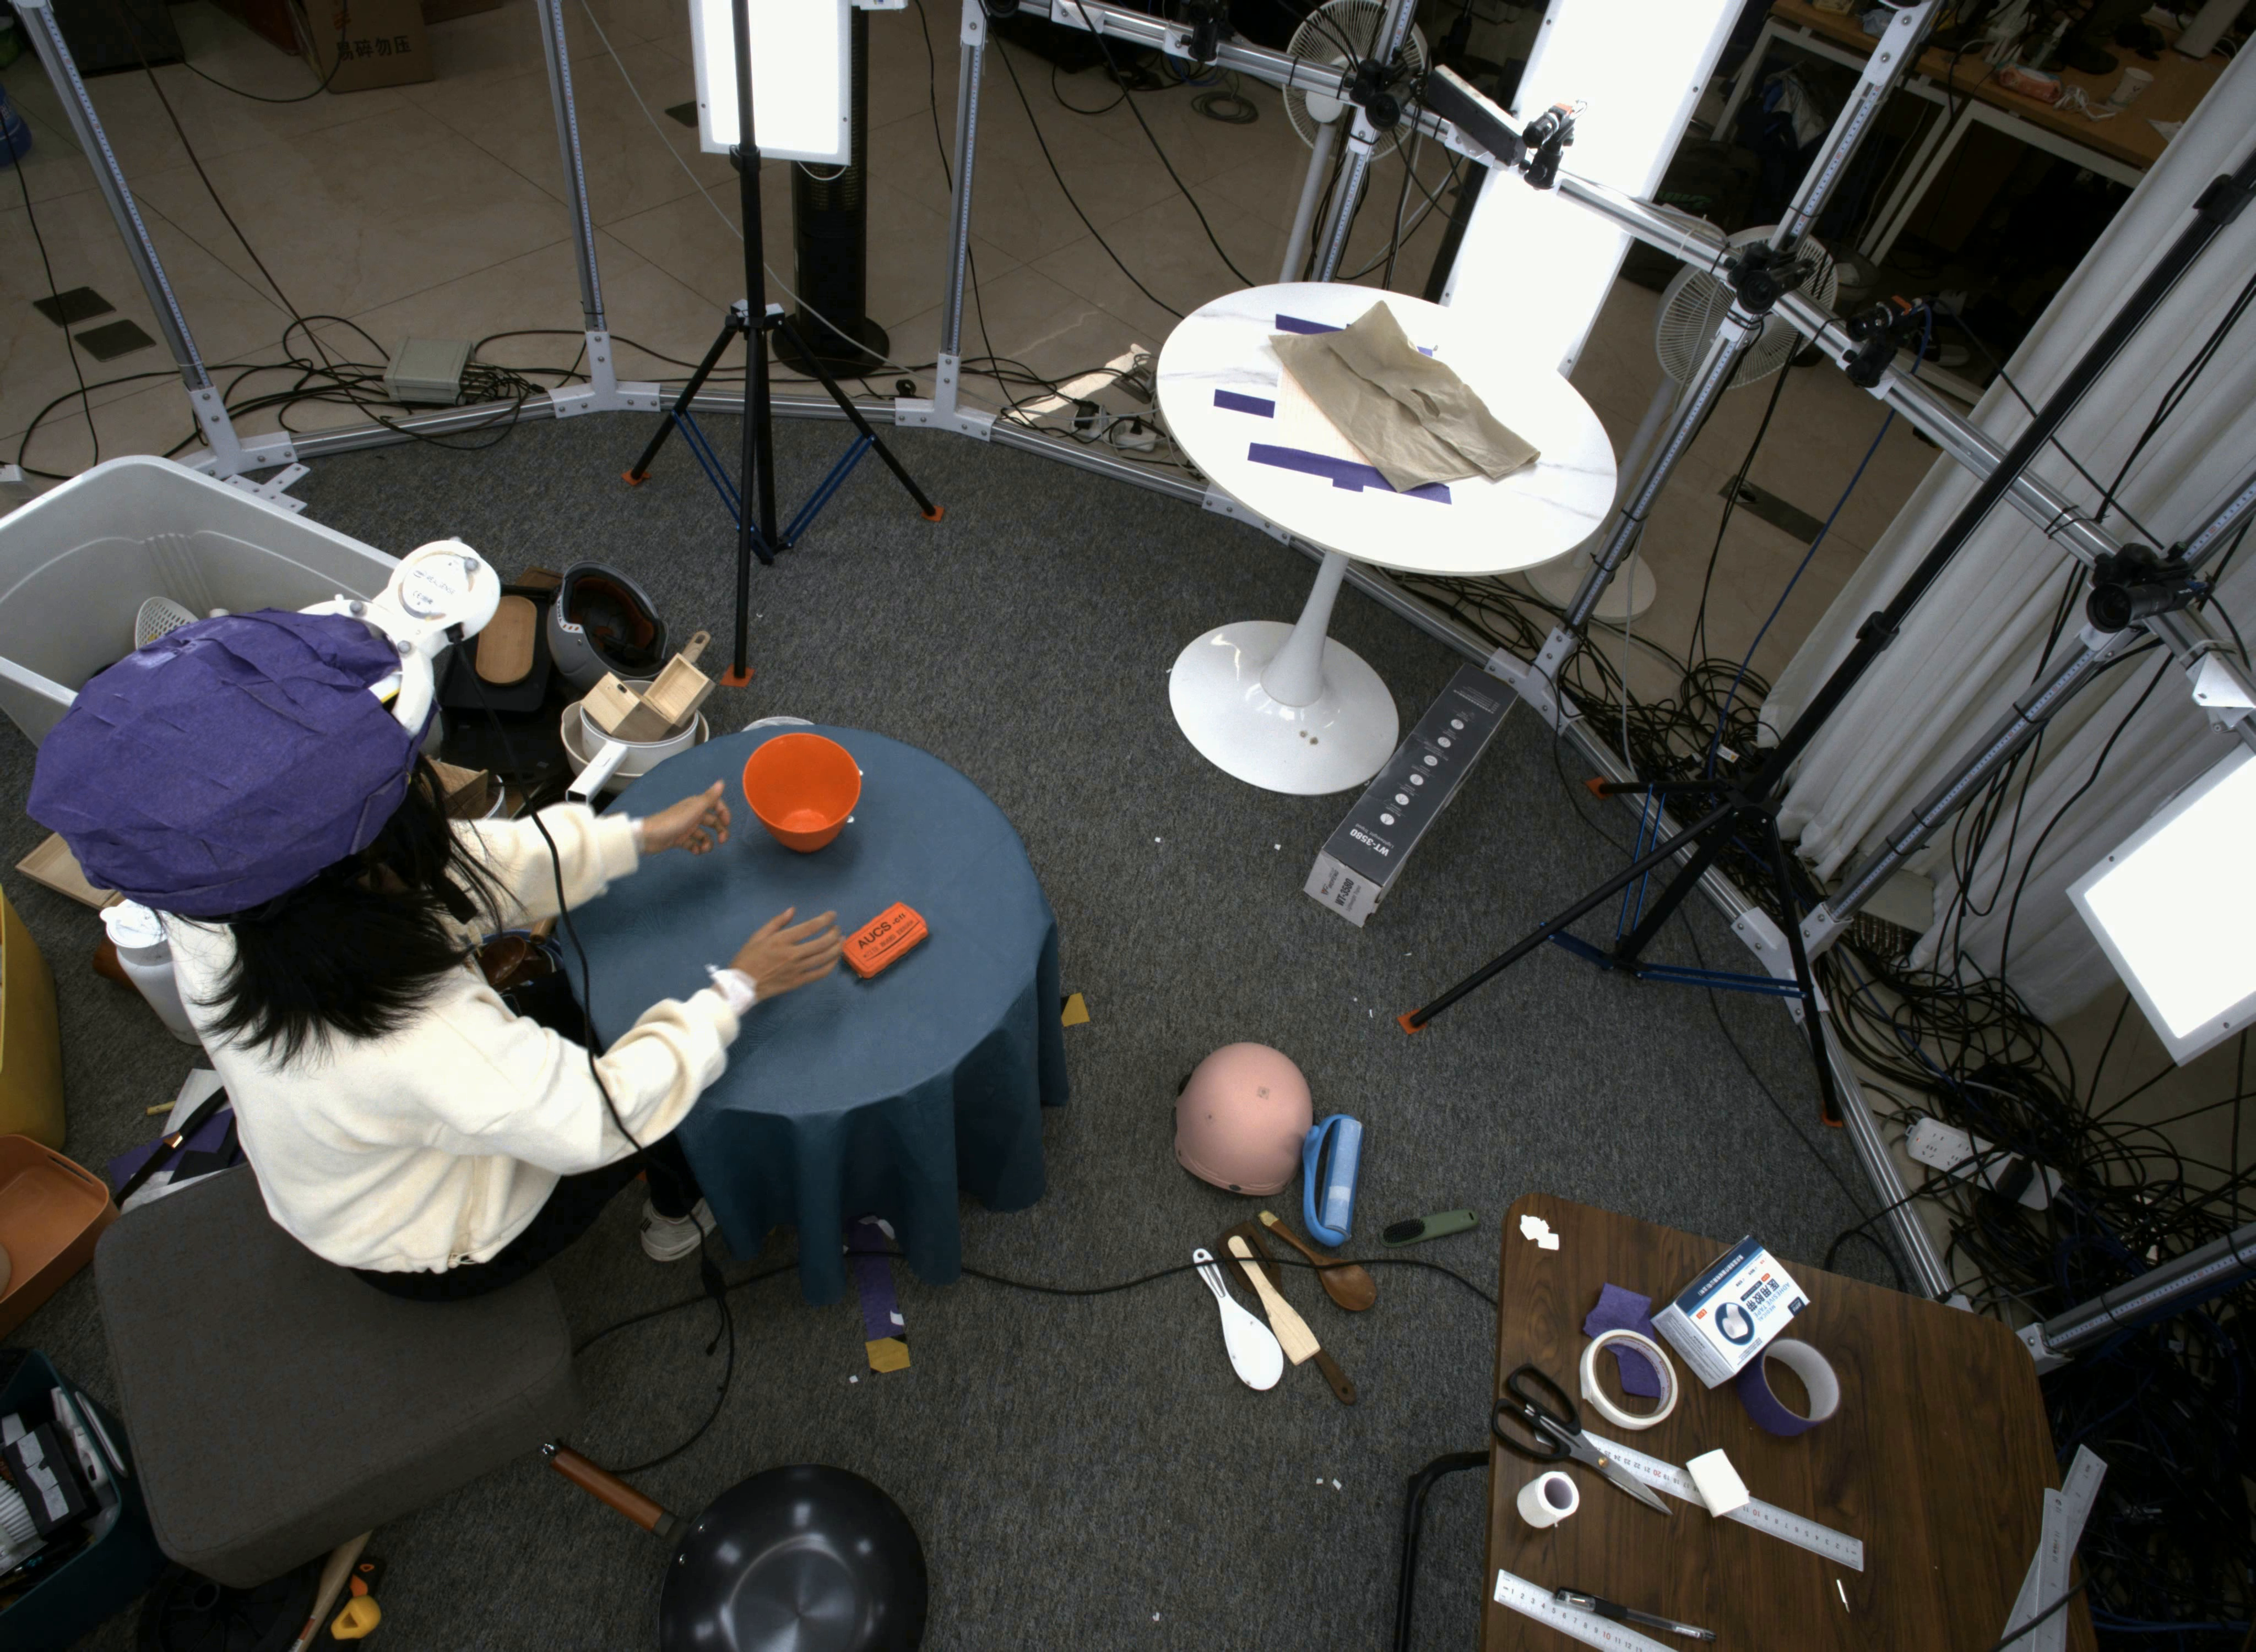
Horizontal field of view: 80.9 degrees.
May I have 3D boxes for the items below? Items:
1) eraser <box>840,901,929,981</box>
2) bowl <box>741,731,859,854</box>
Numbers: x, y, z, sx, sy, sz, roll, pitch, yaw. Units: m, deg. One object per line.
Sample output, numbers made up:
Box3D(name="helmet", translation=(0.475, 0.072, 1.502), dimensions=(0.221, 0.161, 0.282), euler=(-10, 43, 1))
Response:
Box3D(name="eraser", translation=(-0.305, 0.142, 1.629), dimensions=(0.058, 0.023, 0.108), euler=(42, 55, 15))
Box3D(name="bowl", translation=(-0.422, -0.033, 1.677), dimensions=(0.147, 0.107, 0.145), euler=(8, 49, -7))
